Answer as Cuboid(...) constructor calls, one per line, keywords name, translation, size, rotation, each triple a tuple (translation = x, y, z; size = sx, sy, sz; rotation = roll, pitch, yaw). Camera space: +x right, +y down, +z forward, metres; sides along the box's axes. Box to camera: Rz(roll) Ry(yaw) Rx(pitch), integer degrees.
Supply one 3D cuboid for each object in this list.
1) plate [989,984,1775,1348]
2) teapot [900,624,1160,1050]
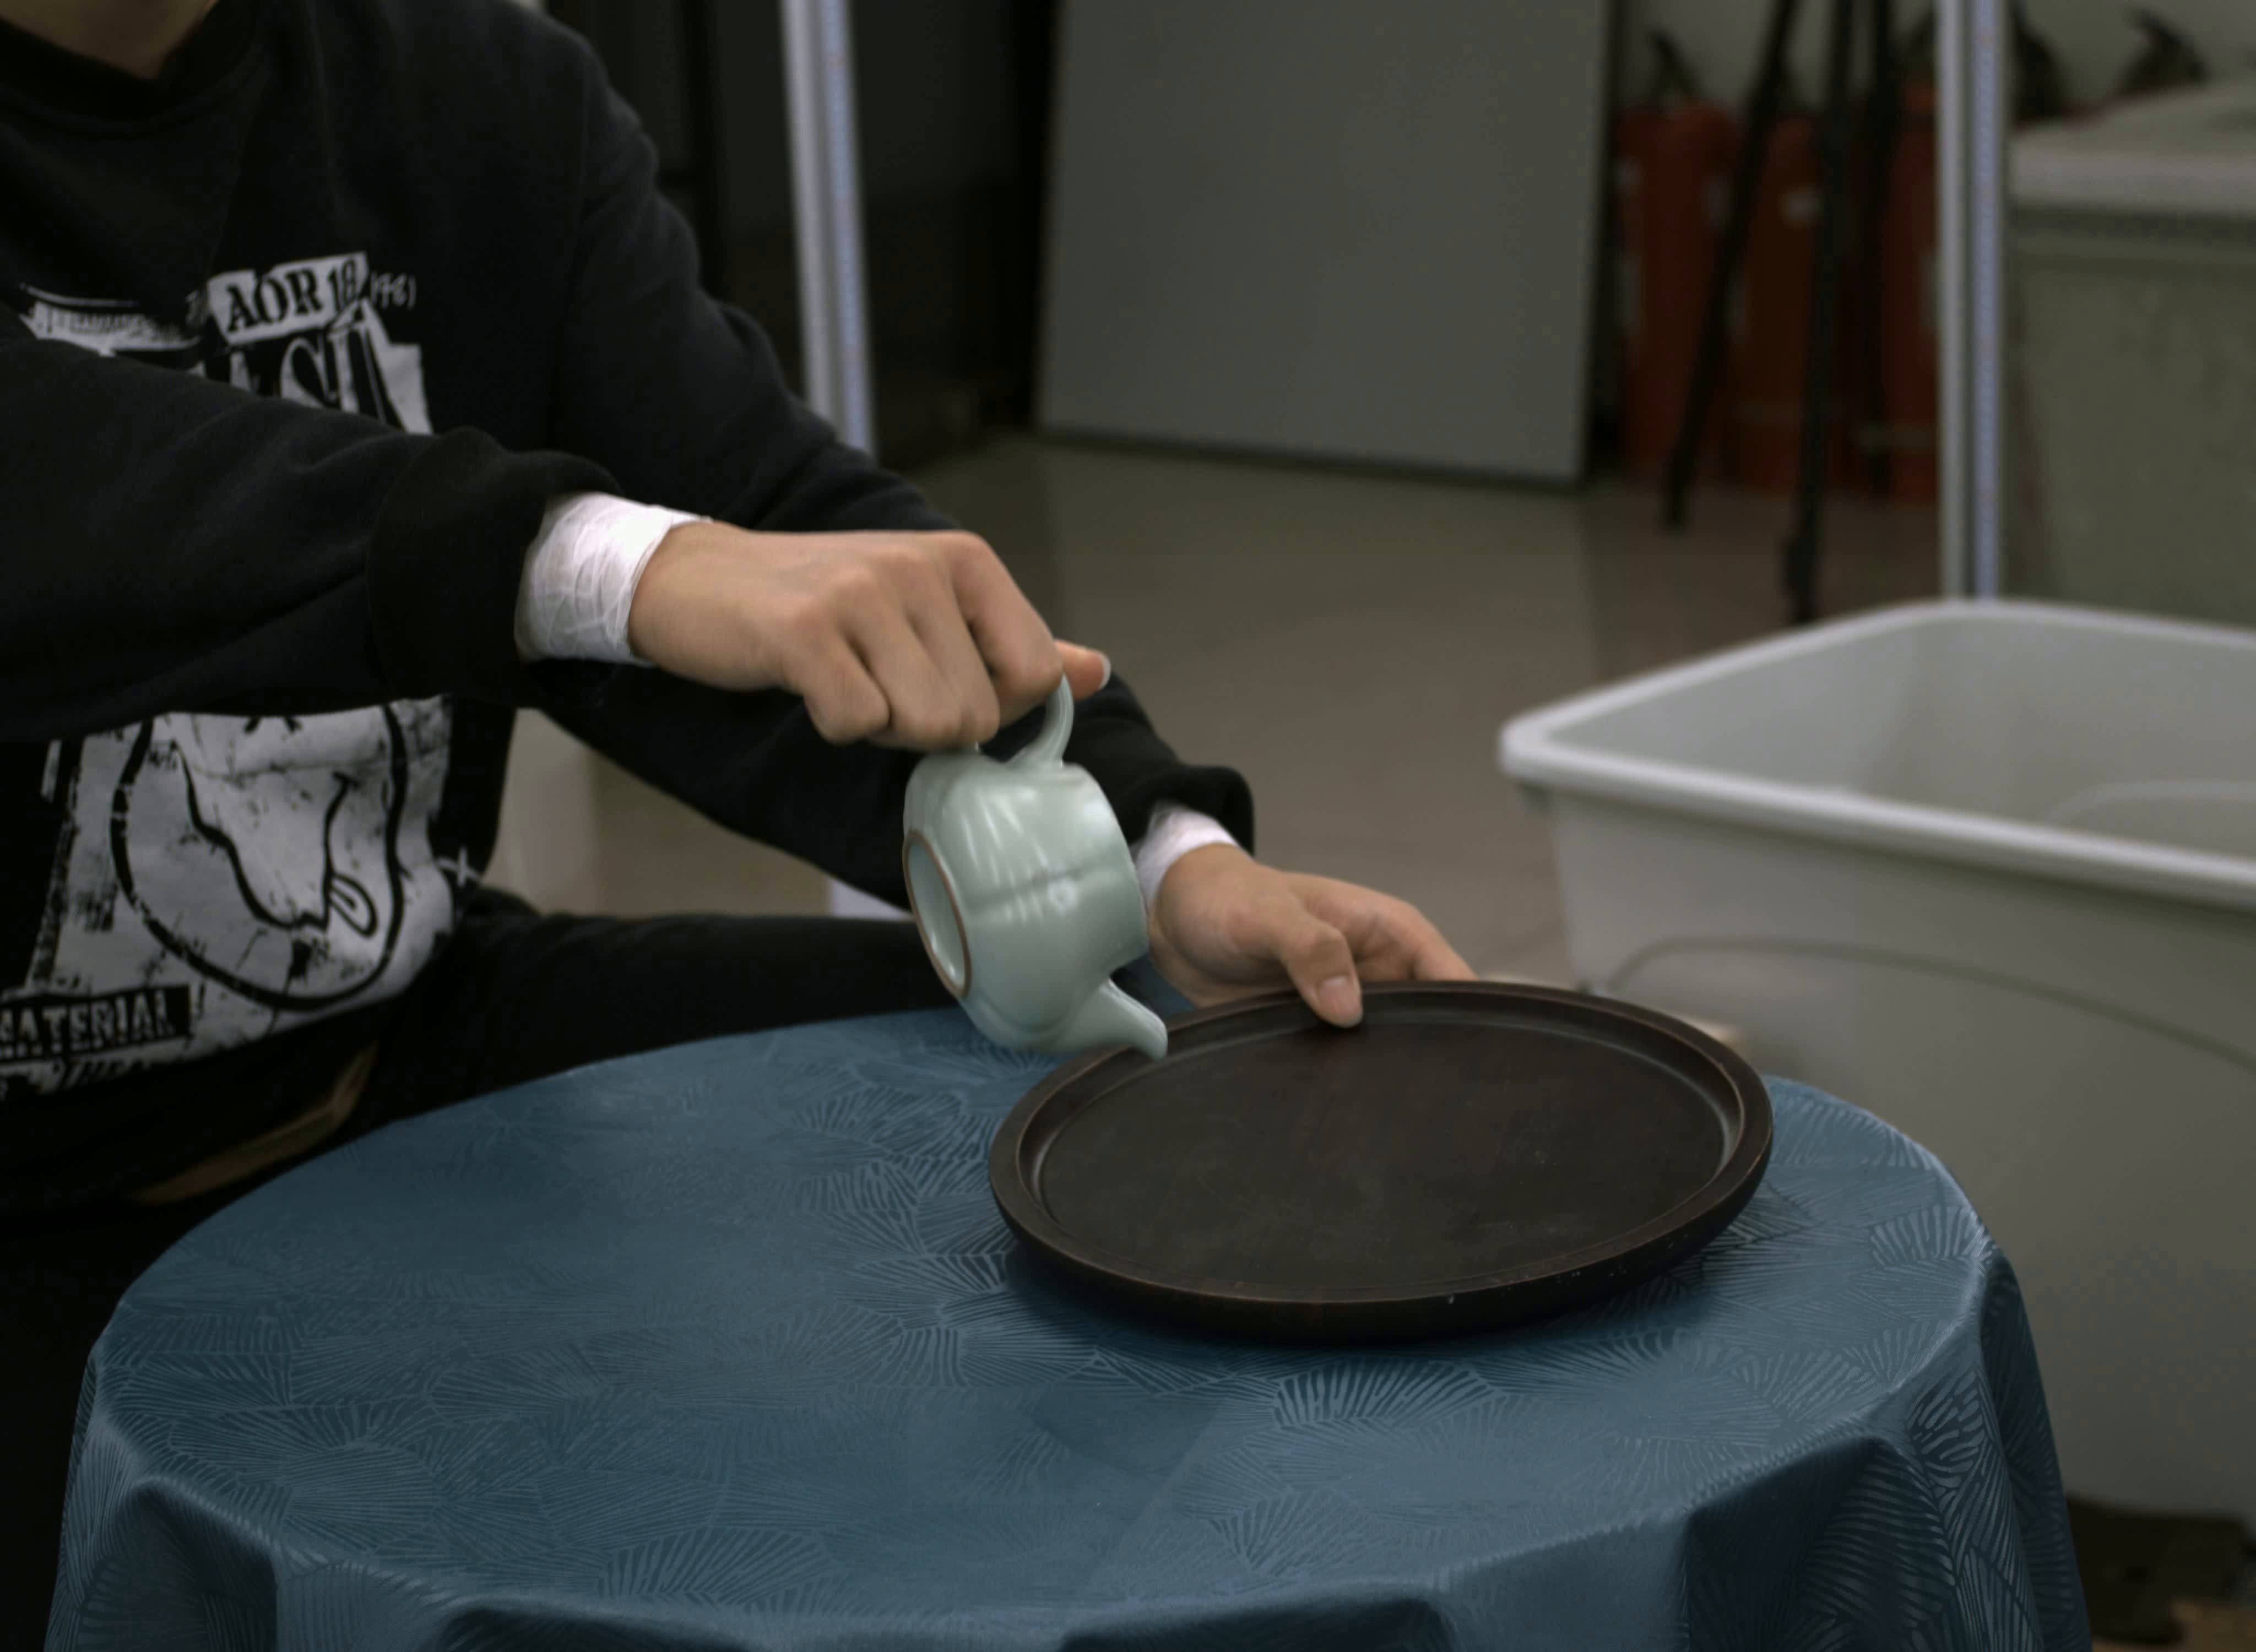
Cuboid(name="plate", translation=(0.081, 0.105, 1.714), size=(0.251, 0.029, 0.255), rotation=(-6, 21, 1))
Cuboid(name="teapot", translation=(-0.033, 0.009, 1.631), size=(0.060, 0.138, 0.097), rotation=(-16, 5, -14))
